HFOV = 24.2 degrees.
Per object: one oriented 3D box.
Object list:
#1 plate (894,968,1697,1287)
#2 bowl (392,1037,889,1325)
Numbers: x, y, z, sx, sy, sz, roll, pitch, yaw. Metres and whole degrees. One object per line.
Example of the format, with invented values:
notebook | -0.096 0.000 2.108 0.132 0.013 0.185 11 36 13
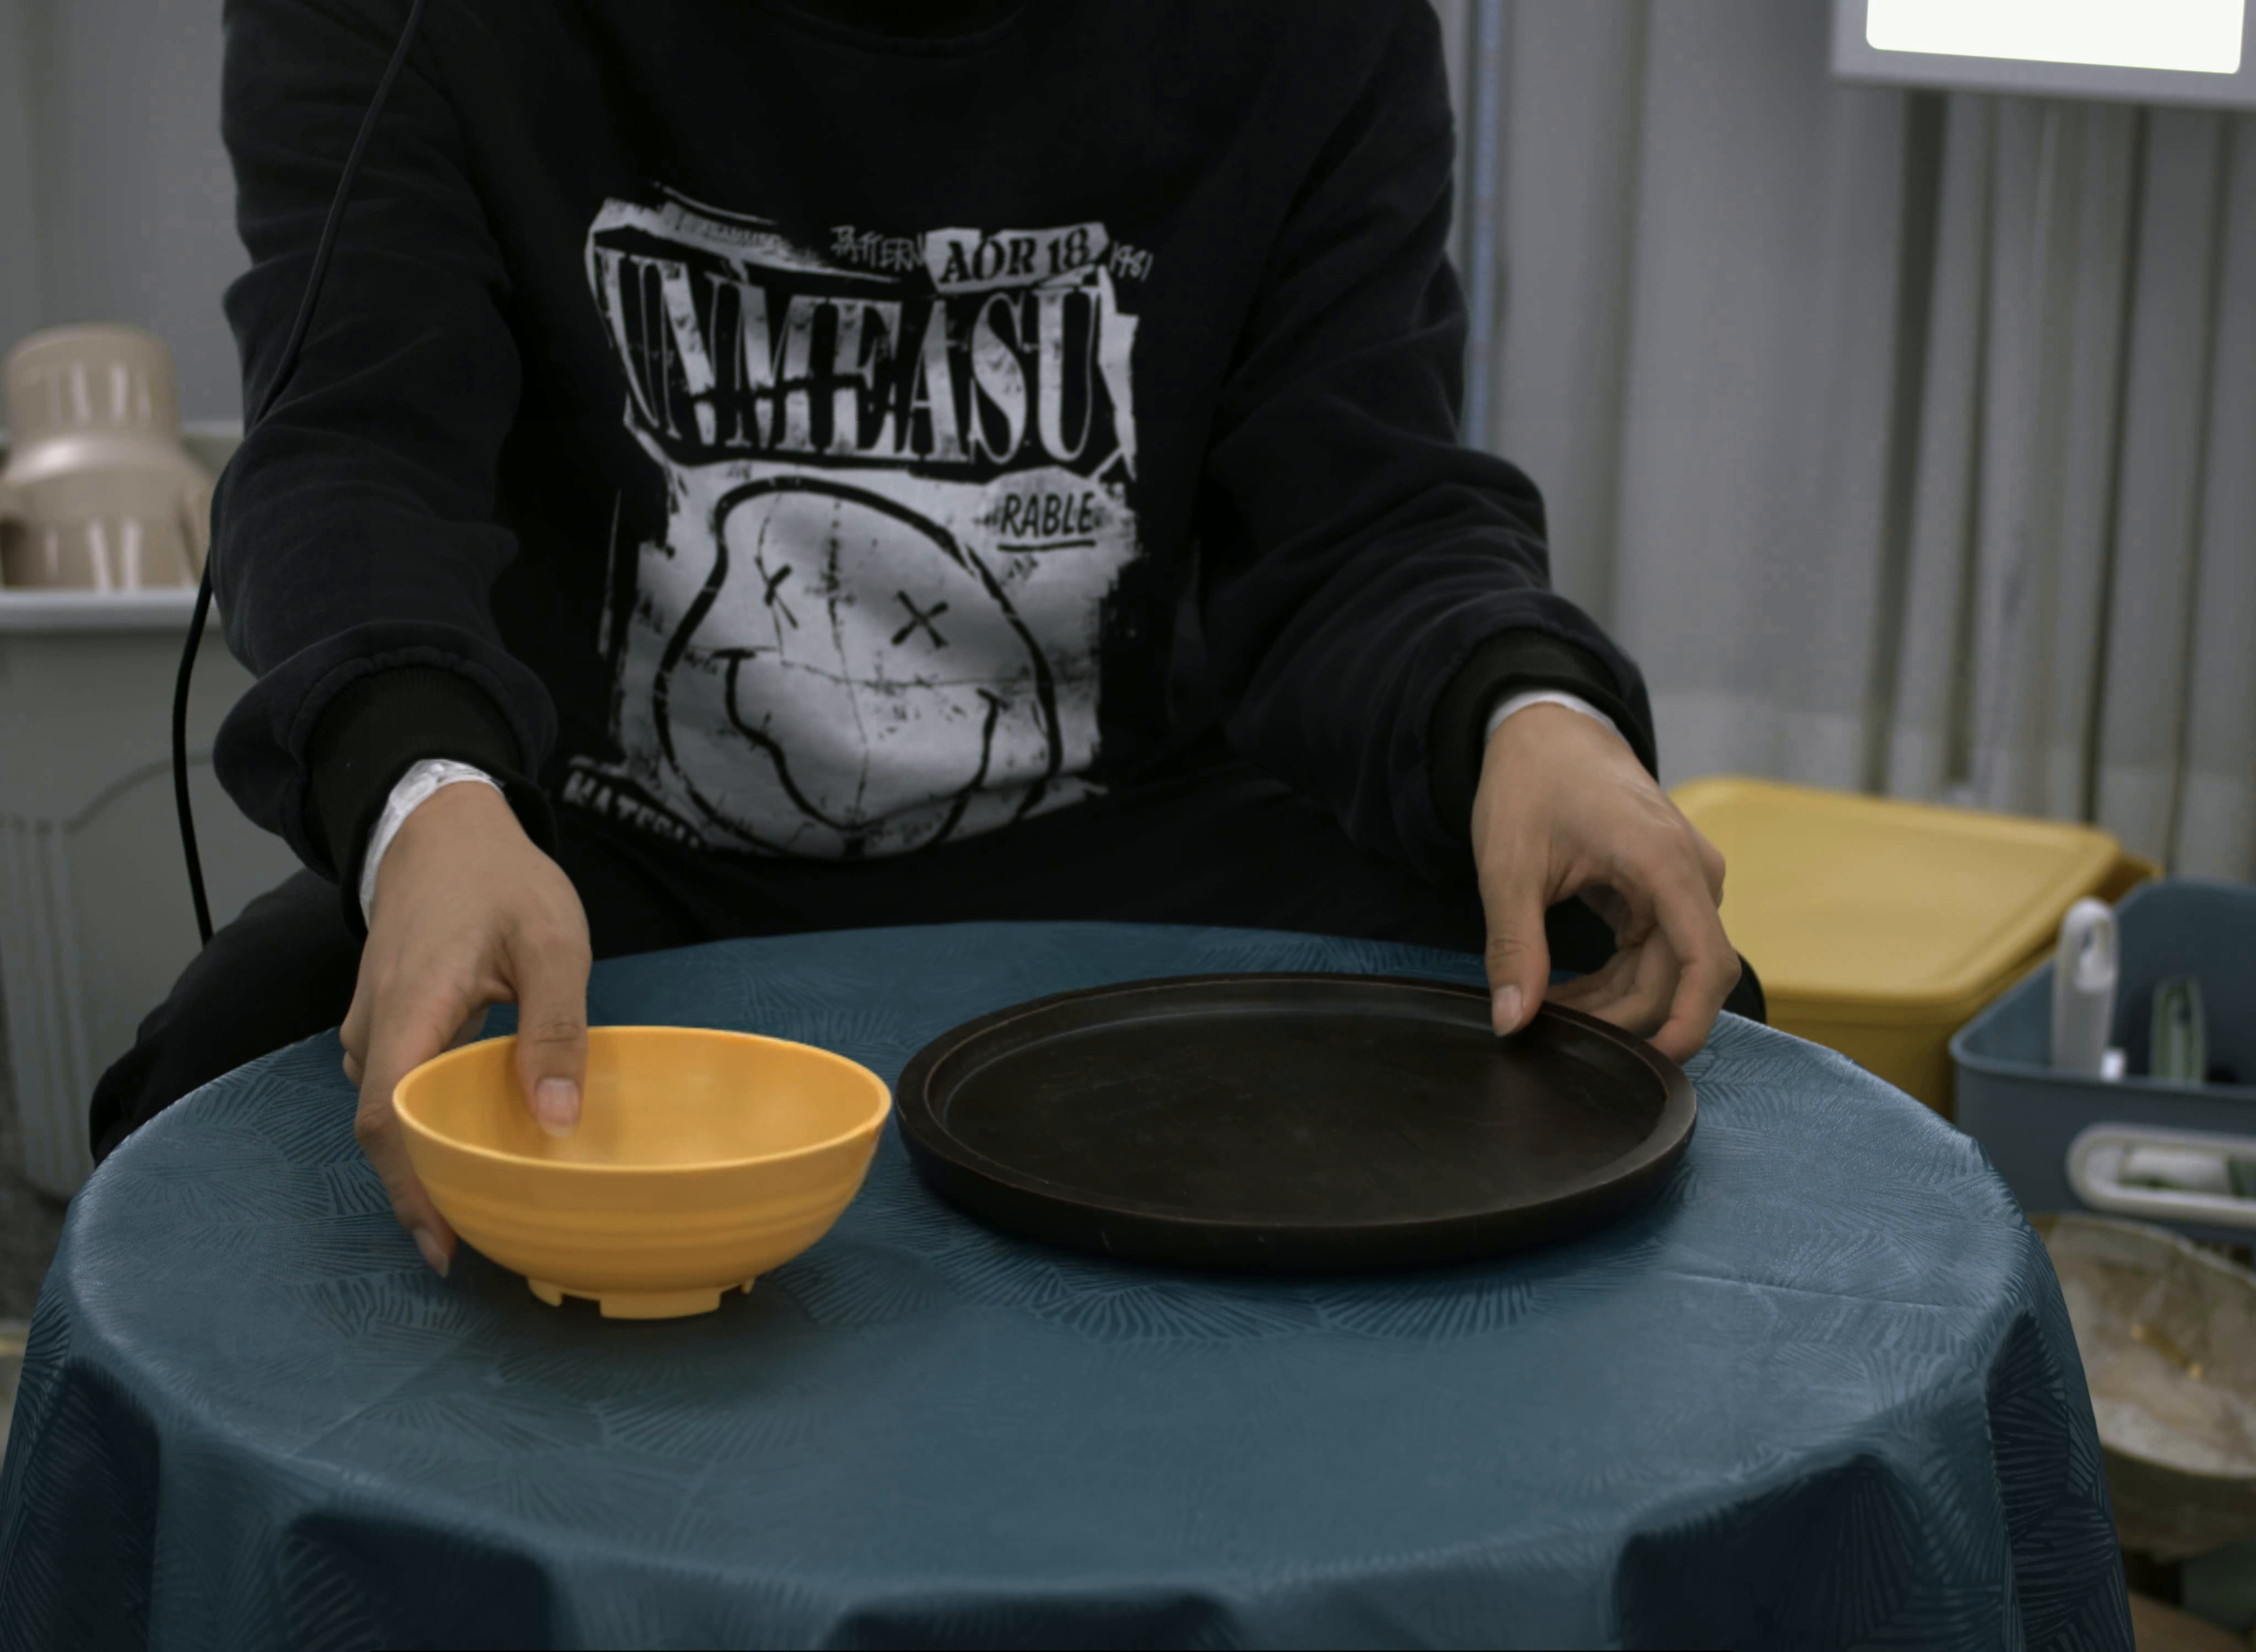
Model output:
plate | 0.053 0.092 1.659 0.254 0.029 0.253 -1 16 1
bowl | -0.142 0.107 1.533 0.145 0.060 0.144 2 13 0
